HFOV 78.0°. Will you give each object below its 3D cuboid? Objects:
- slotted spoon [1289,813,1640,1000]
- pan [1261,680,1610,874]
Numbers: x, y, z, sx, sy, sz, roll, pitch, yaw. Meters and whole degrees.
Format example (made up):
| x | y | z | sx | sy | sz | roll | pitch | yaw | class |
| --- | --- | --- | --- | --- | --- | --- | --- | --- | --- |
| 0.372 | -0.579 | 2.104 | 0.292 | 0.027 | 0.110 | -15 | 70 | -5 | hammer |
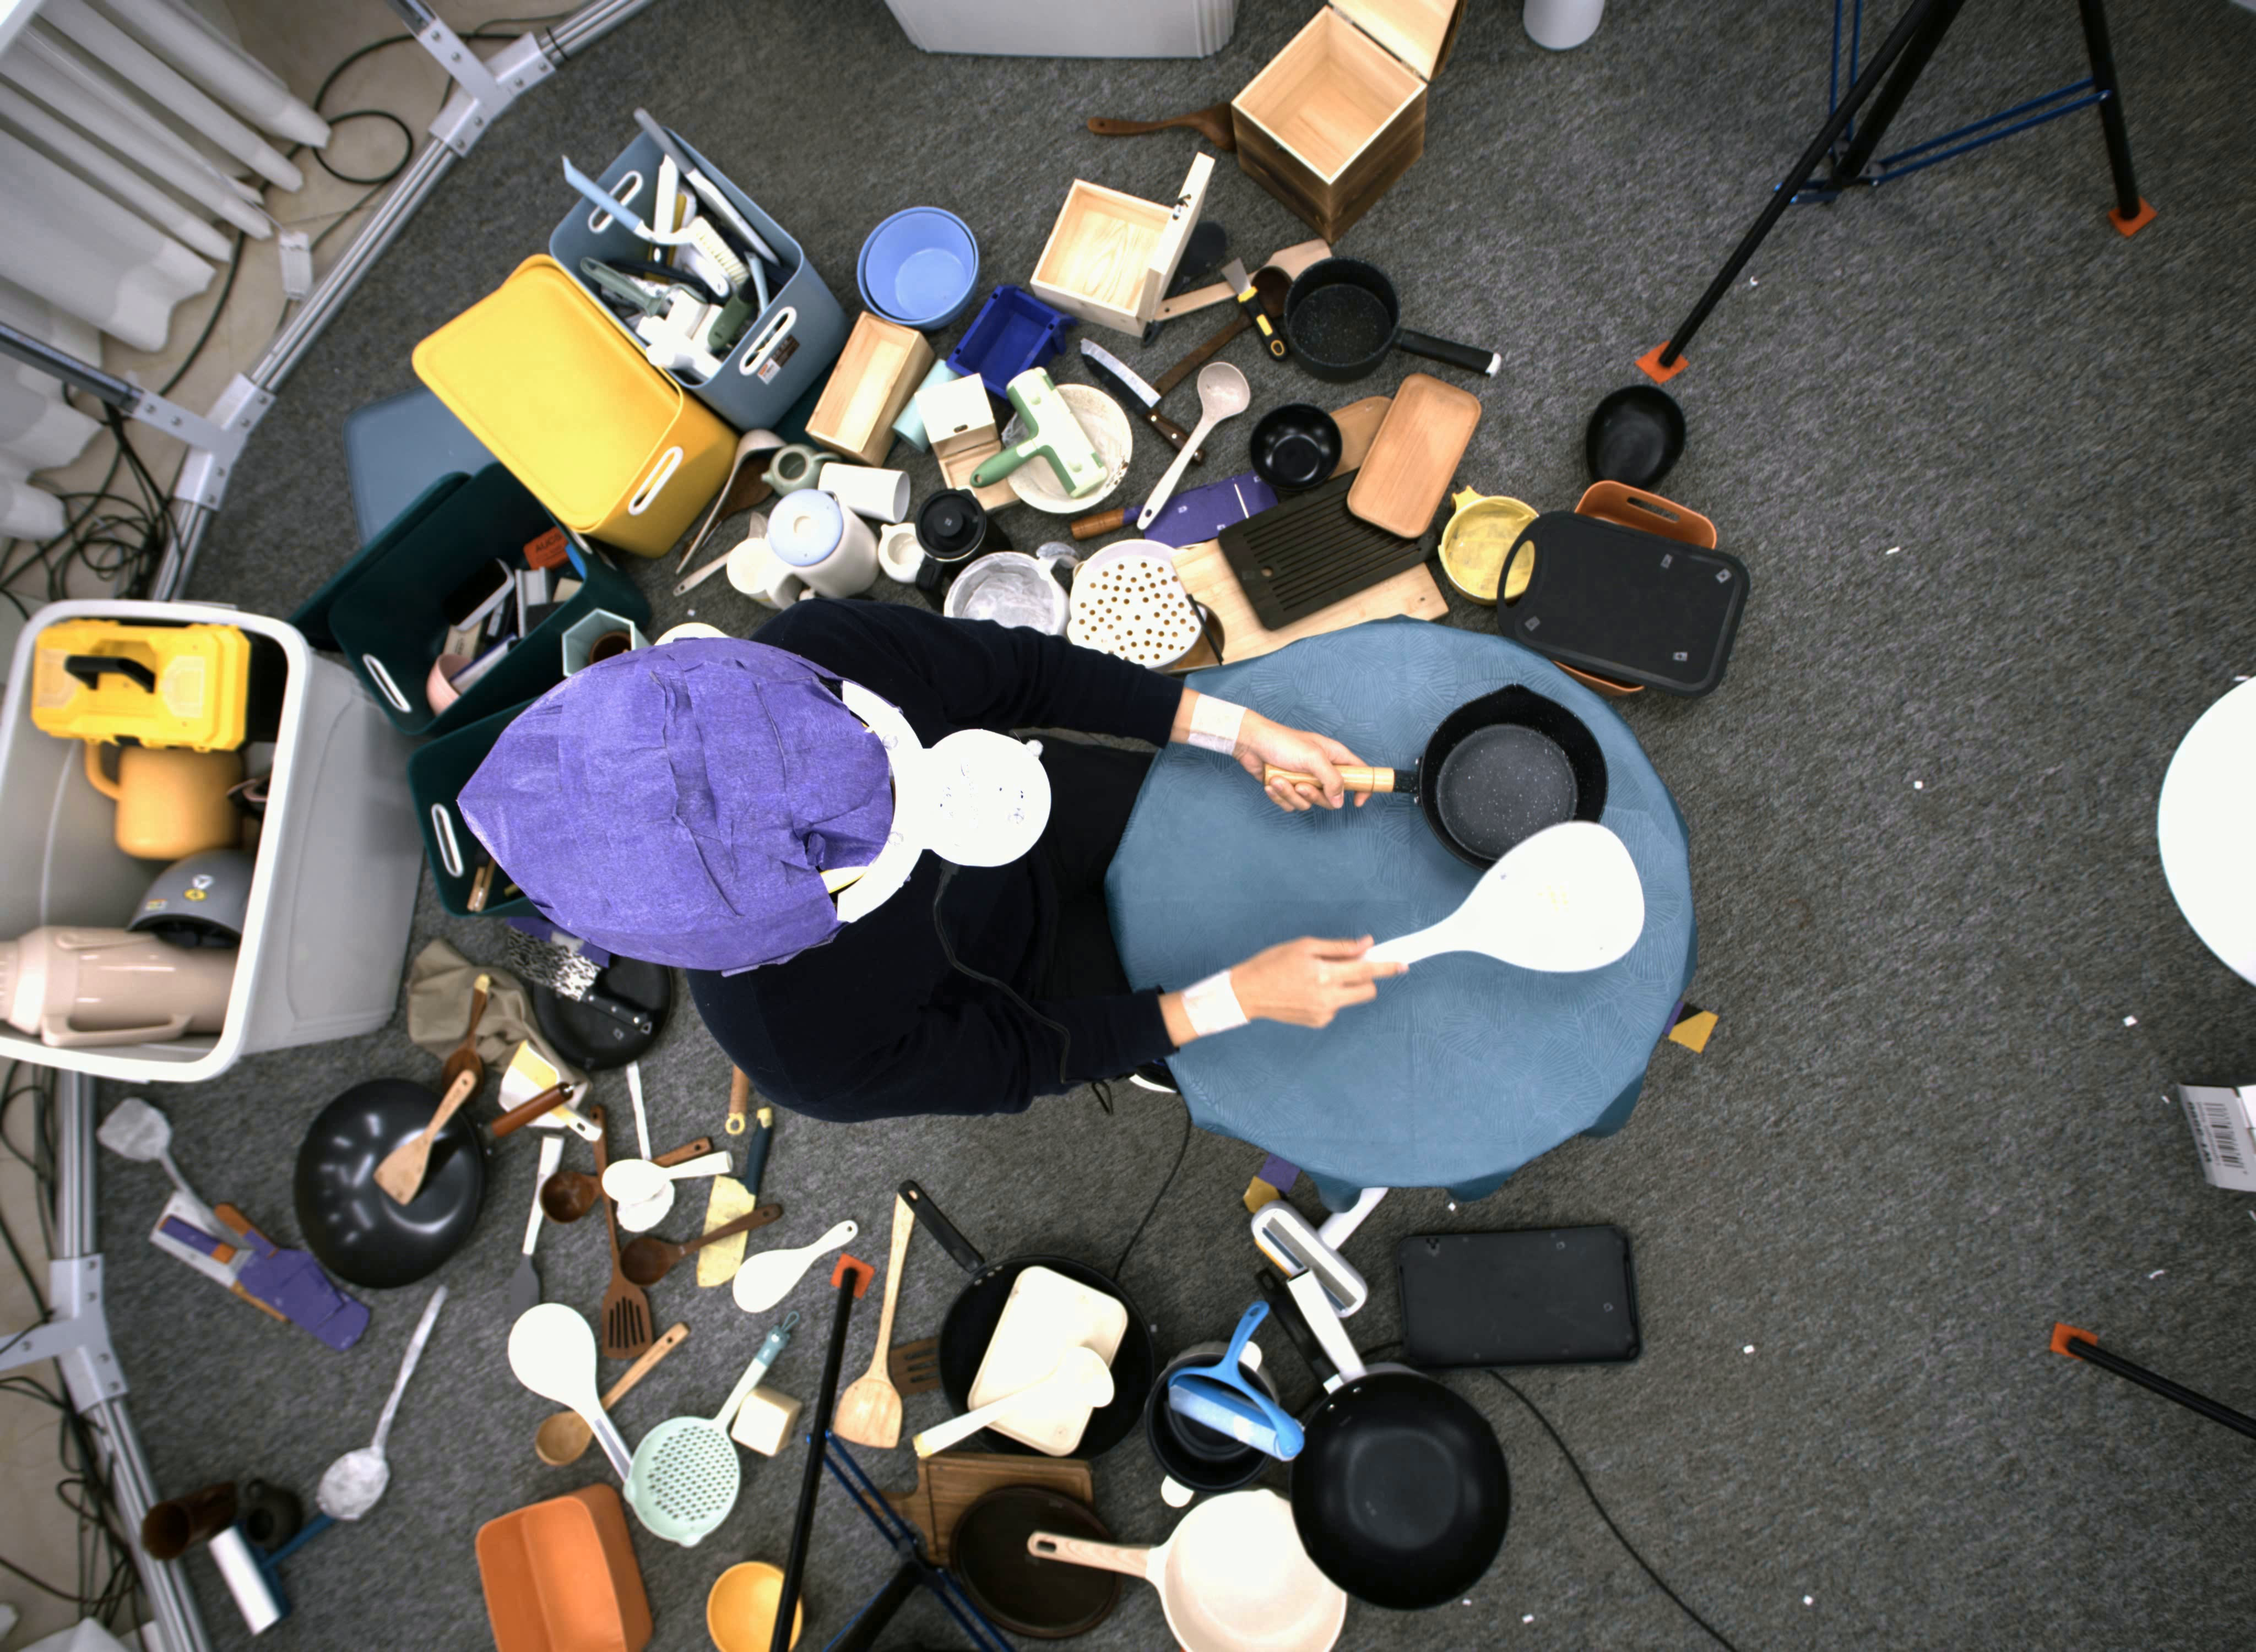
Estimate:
| x | y | z | sx | sy | sz | roll | pitch | yaw | class |
| --- | --- | --- | --- | --- | --- | --- | --- | --- | --- |
| 0.317 | 0.092 | 1.320 | 0.348 | 0.050 | 0.137 | -21 | 95 | -2 | slotted spoon |
| 0.309 | -0.044 | 1.405 | 0.344 | 0.108 | 0.207 | 1 | 88 | 10 | pan |
